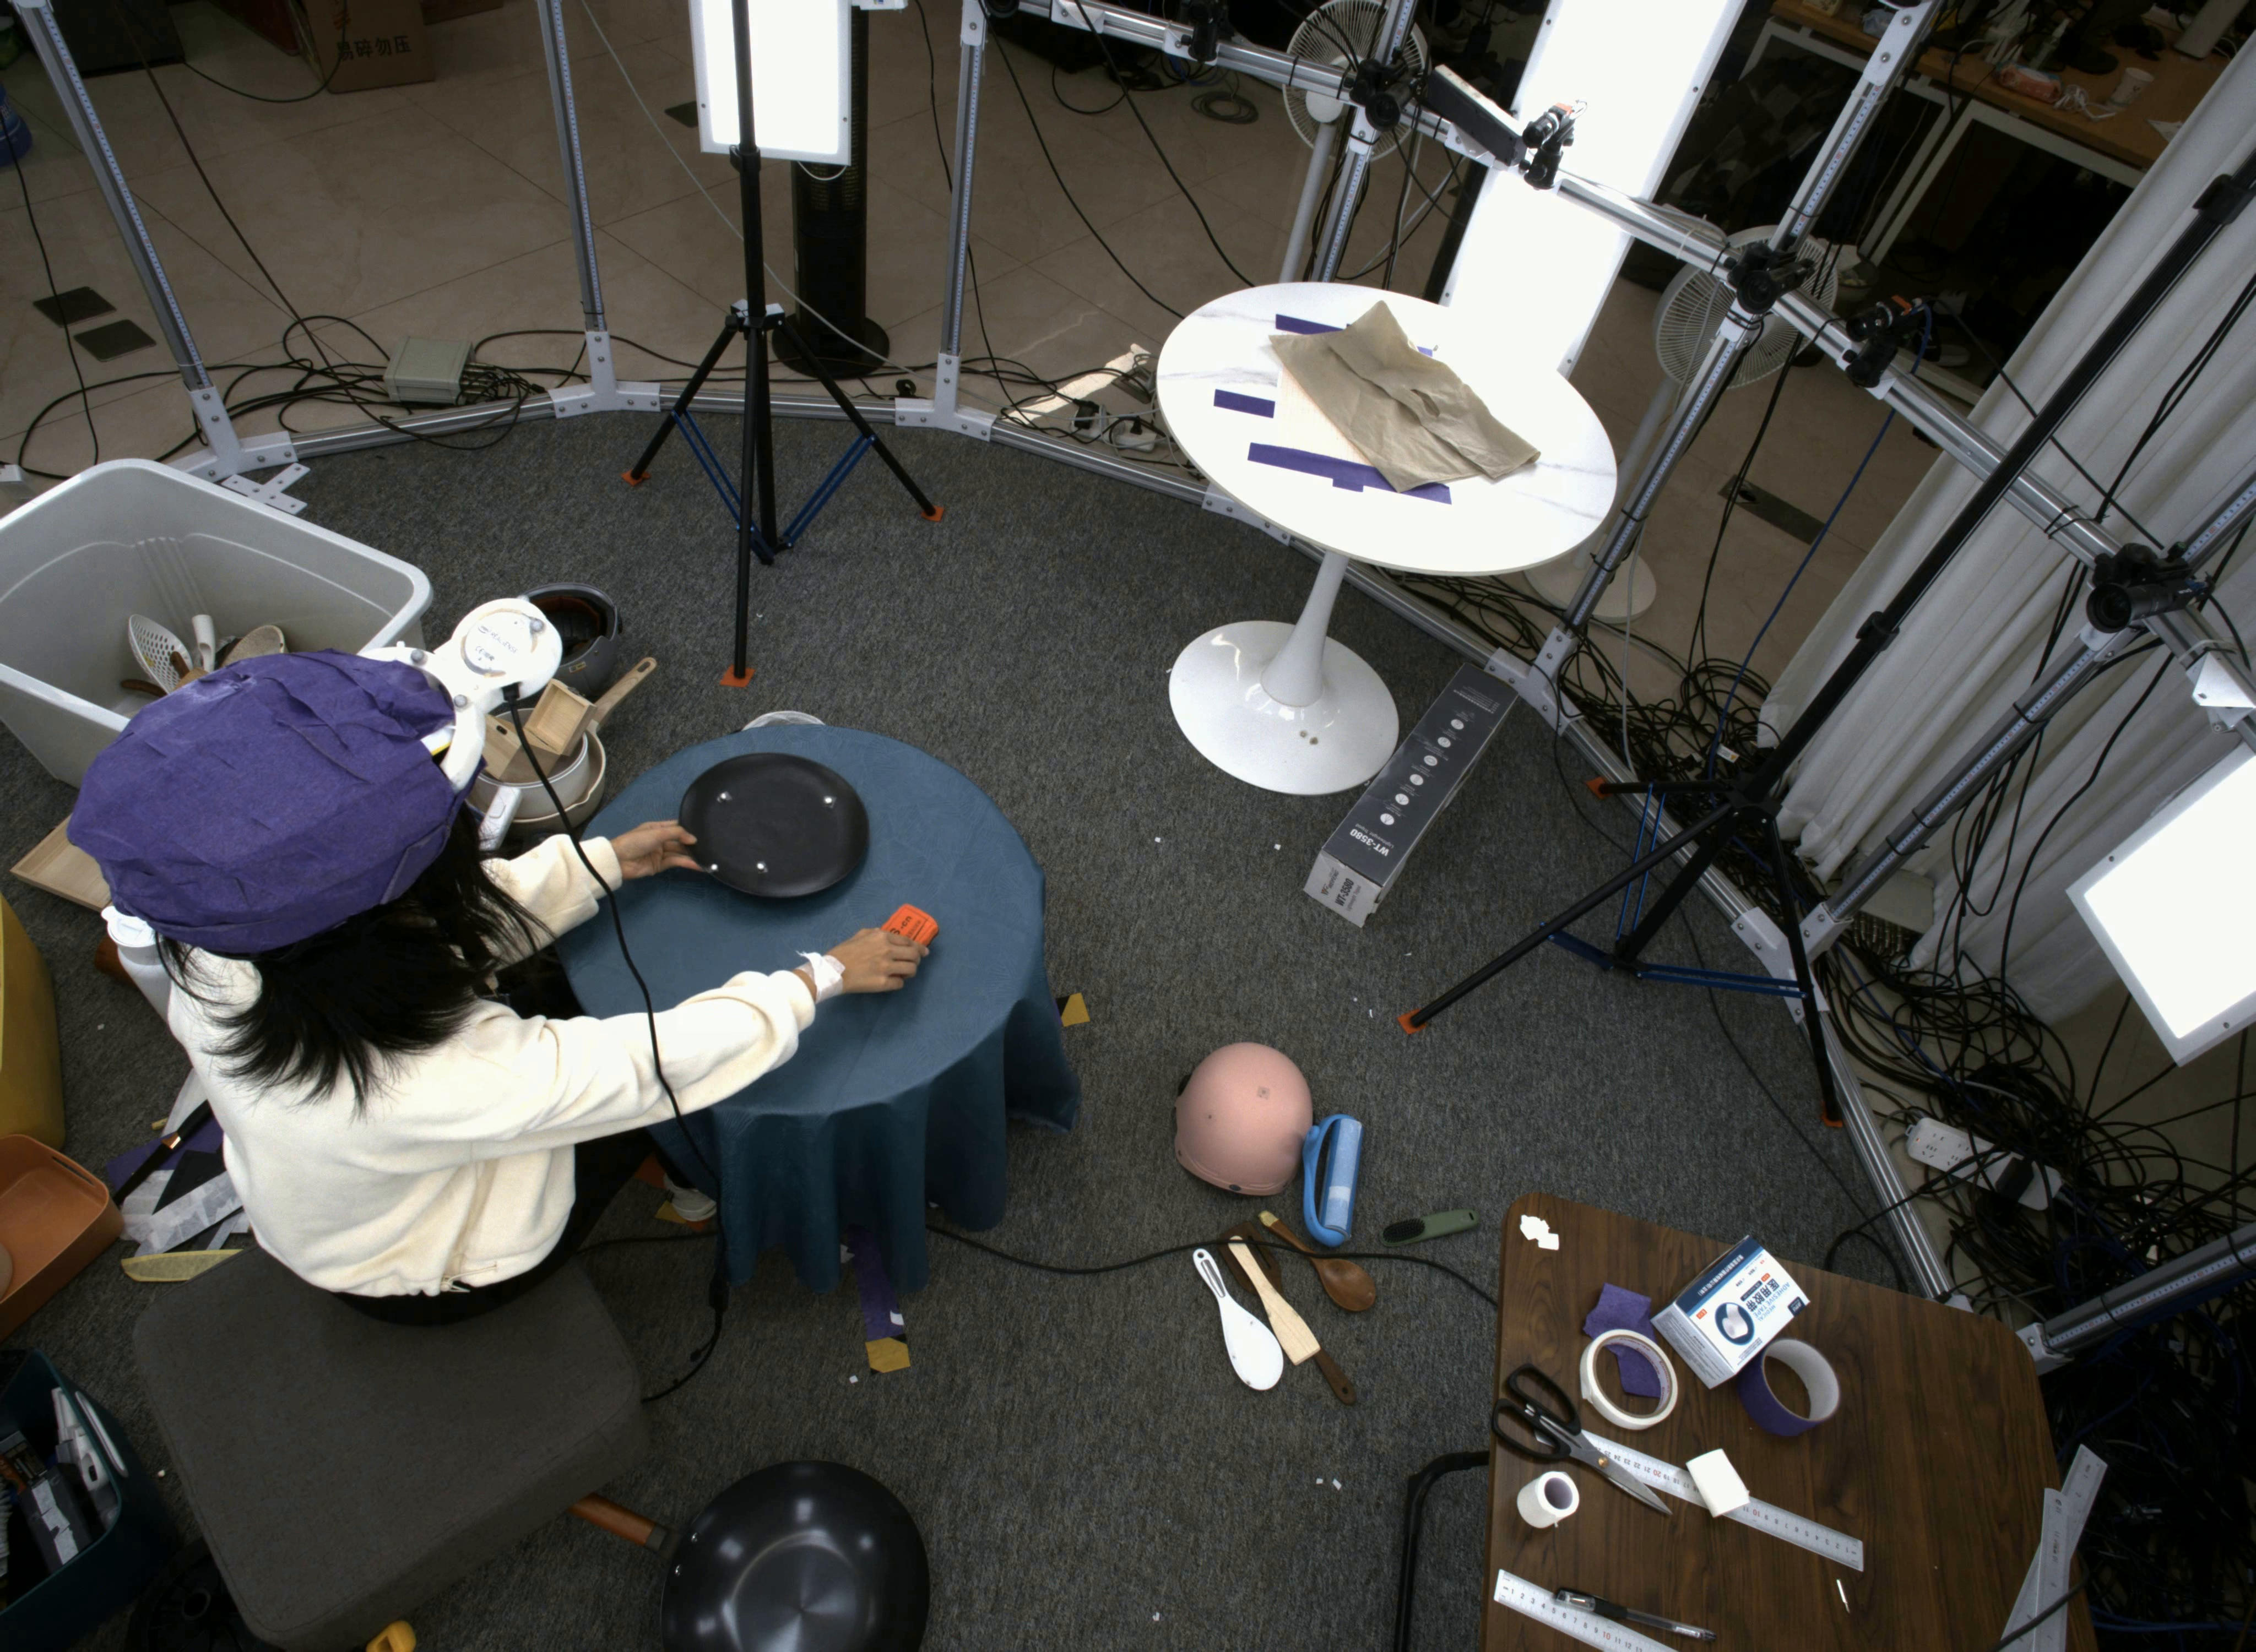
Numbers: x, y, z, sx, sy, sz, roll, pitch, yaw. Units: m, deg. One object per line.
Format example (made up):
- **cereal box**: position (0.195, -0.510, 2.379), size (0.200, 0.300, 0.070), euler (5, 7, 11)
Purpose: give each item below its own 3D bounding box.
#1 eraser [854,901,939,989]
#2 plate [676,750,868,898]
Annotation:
- **eraser**: position (-0.286, 0.144, 1.610), size (0.057, 0.023, 0.108), euler (30, 59, 15)
- **plate**: position (-0.461, -0.001, 1.680), size (0.245, 0.024, 0.240), euler (13, 49, -13)
